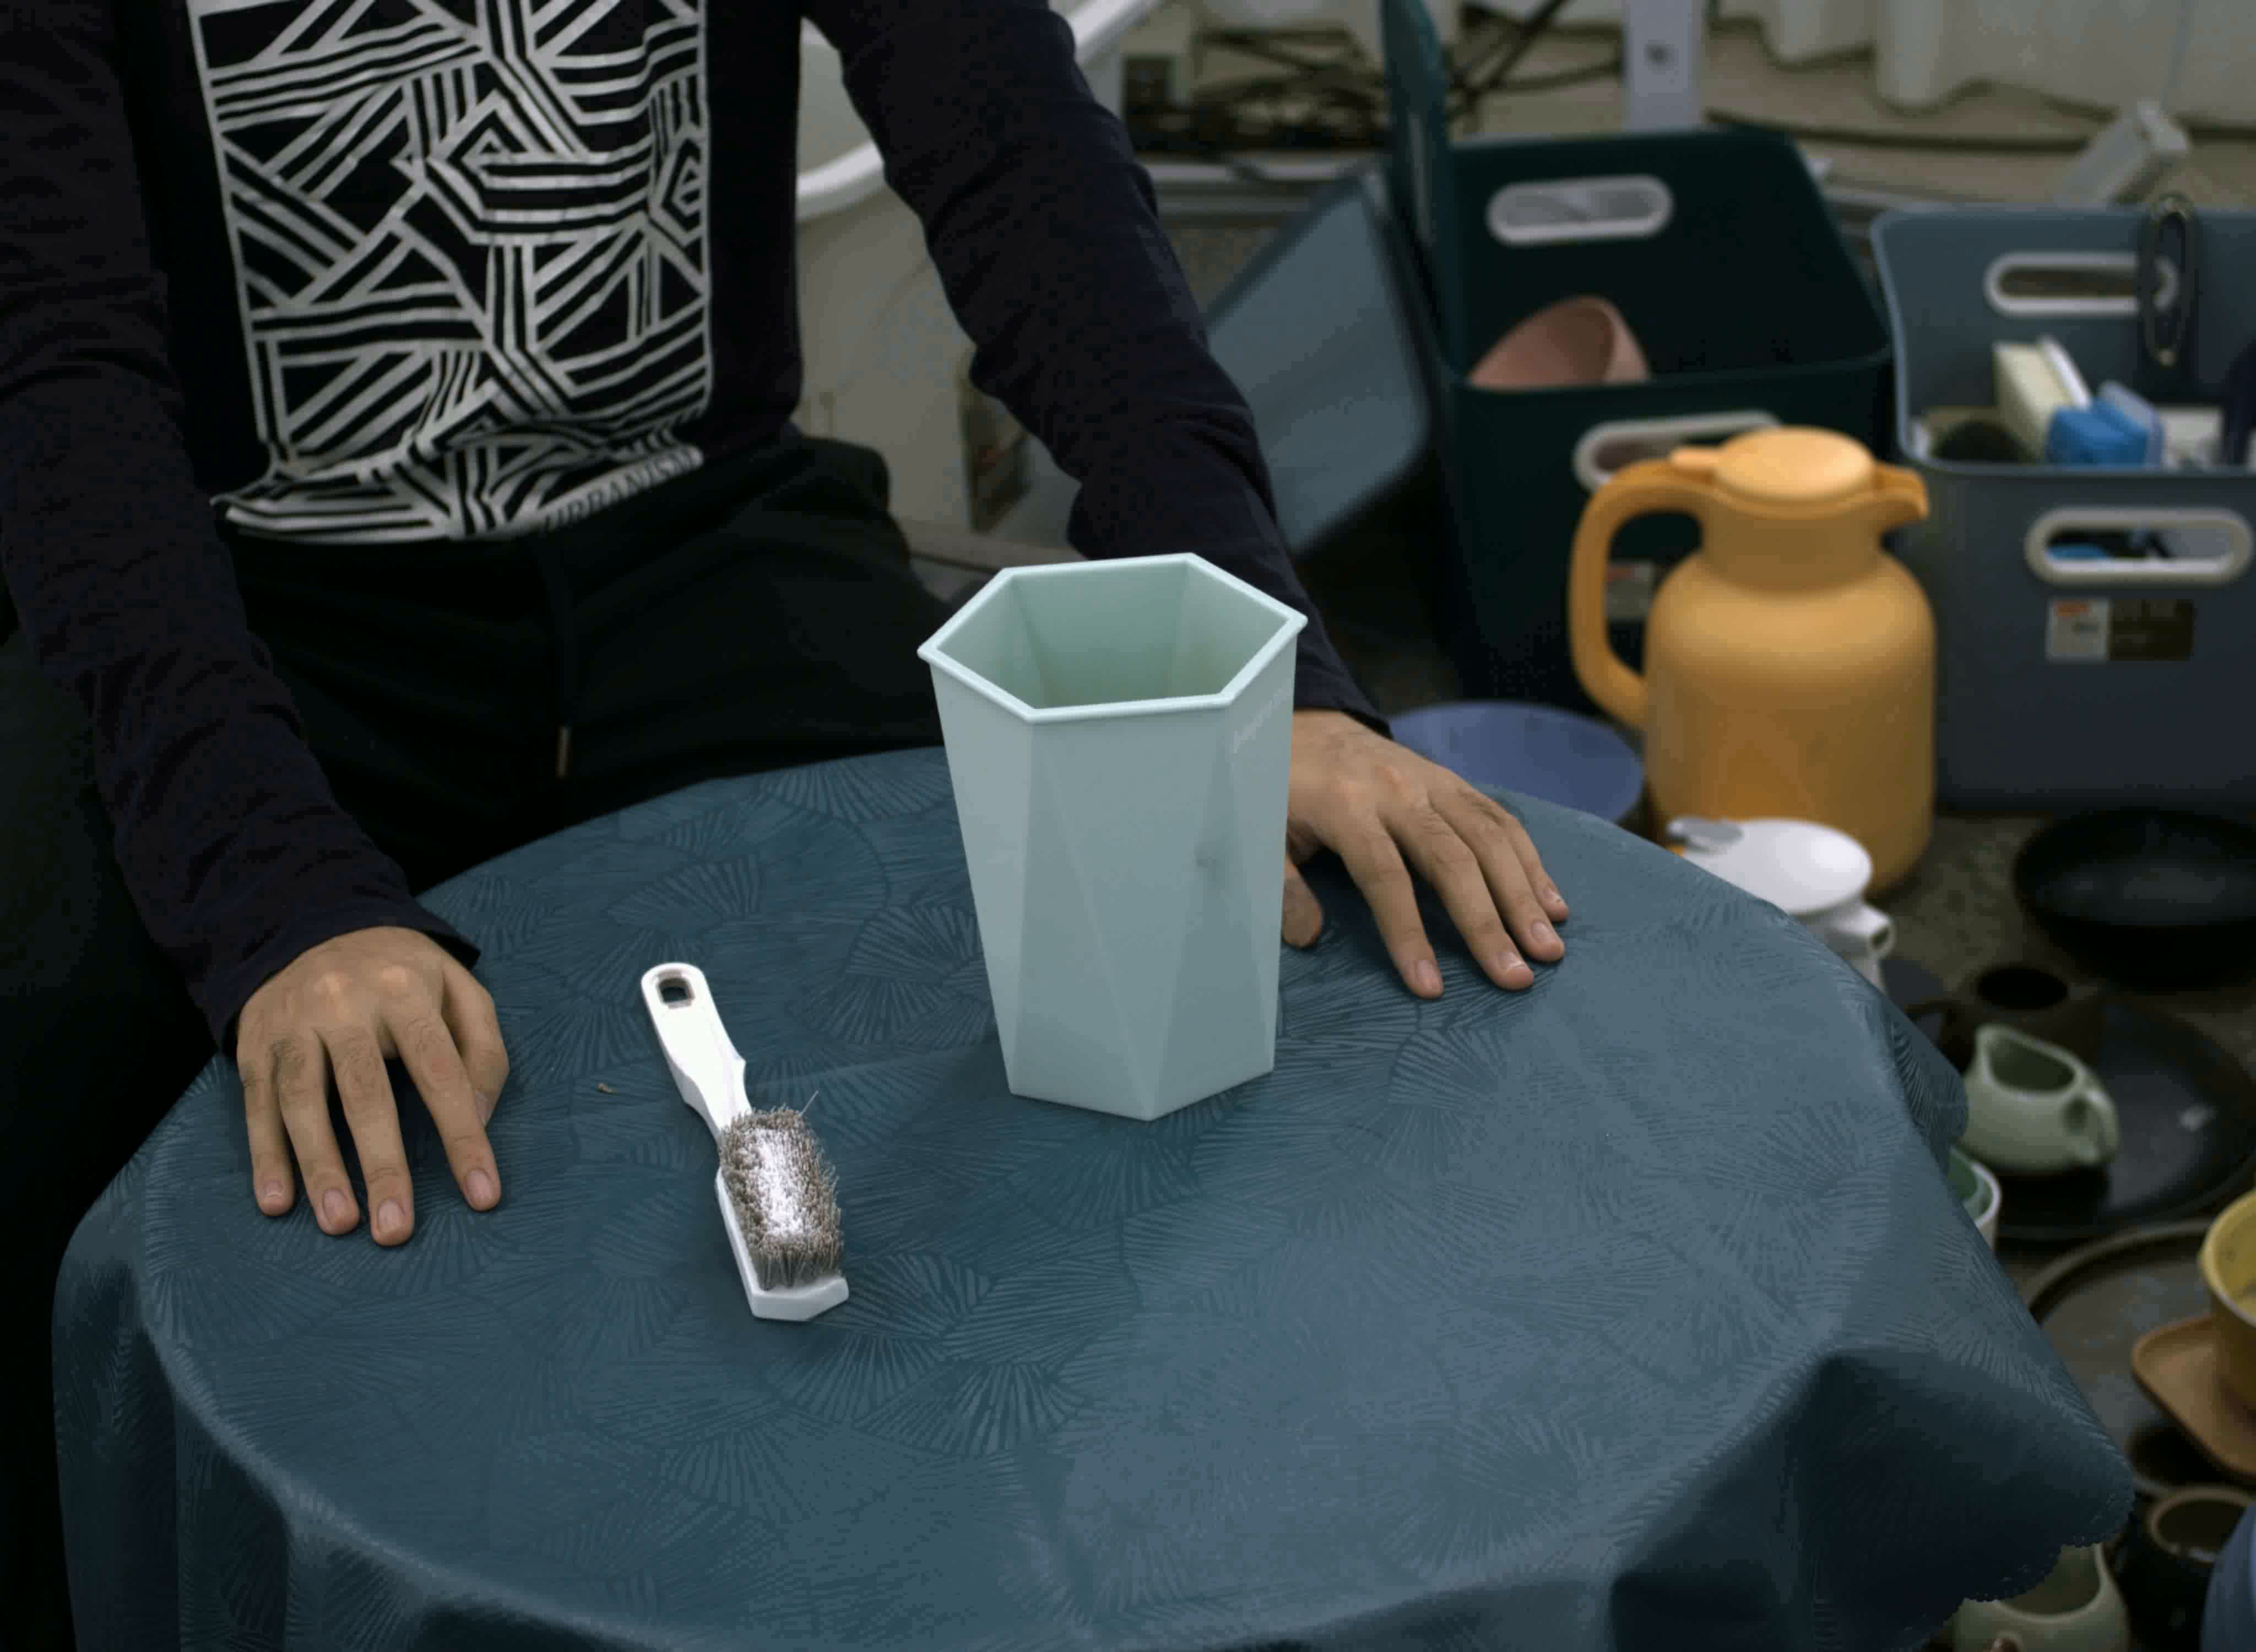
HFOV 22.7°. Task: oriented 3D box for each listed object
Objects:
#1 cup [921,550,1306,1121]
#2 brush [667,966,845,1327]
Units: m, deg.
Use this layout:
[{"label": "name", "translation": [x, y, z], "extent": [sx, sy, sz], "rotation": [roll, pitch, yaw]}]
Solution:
[{"label": "cup", "translation": [0.001, 0.005, 1.910], "extent": [0.114, 0.161, 0.133], "rotation": [7, 28, 22]}, {"label": "brush", "translation": [-0.131, 0.090, 1.883], "extent": [0.034, 0.050, 0.246], "rotation": [-11, 28, -7]}]
